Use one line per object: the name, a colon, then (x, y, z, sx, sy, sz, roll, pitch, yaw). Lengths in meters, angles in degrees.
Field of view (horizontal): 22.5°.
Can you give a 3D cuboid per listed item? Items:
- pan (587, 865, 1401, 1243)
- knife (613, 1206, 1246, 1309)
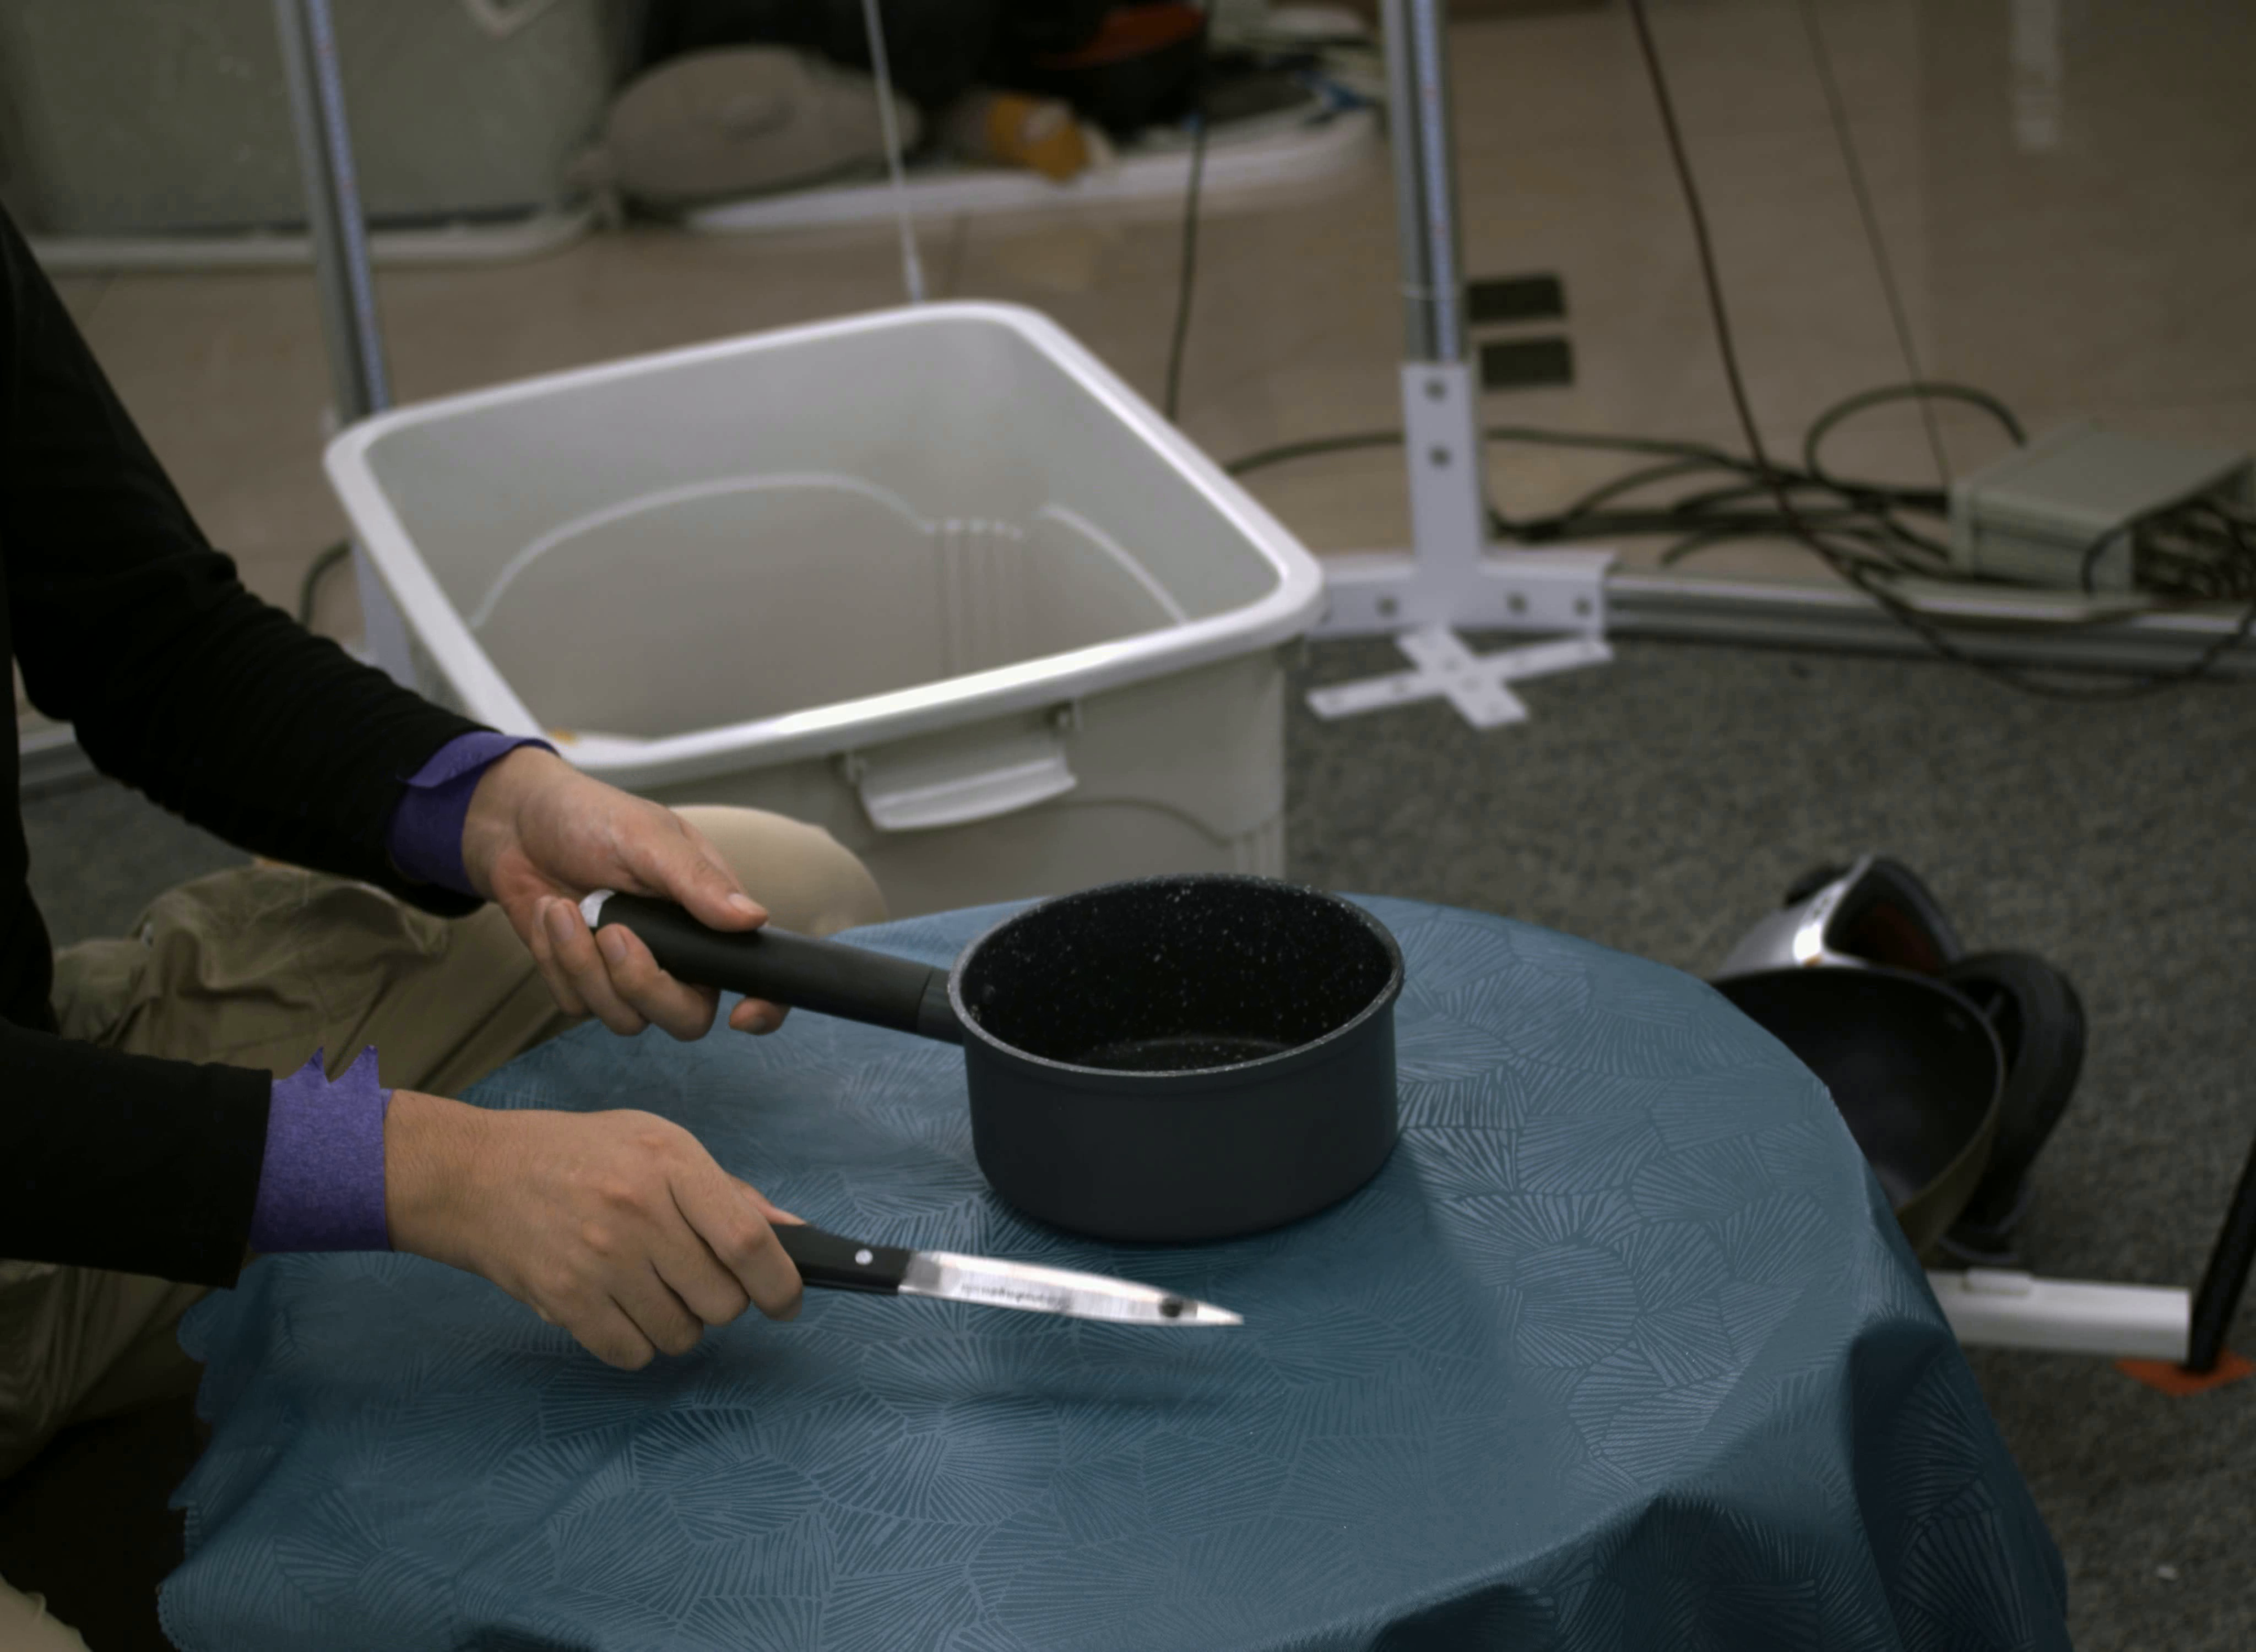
pan: (-0.054, 0.078, 2.181, 0.327, 0.088, 0.170, 7, 27, 19)
knife: (-0.074, 0.158, 2.028, 0.237, 0.016, 0.024, 5, 44, 14)
